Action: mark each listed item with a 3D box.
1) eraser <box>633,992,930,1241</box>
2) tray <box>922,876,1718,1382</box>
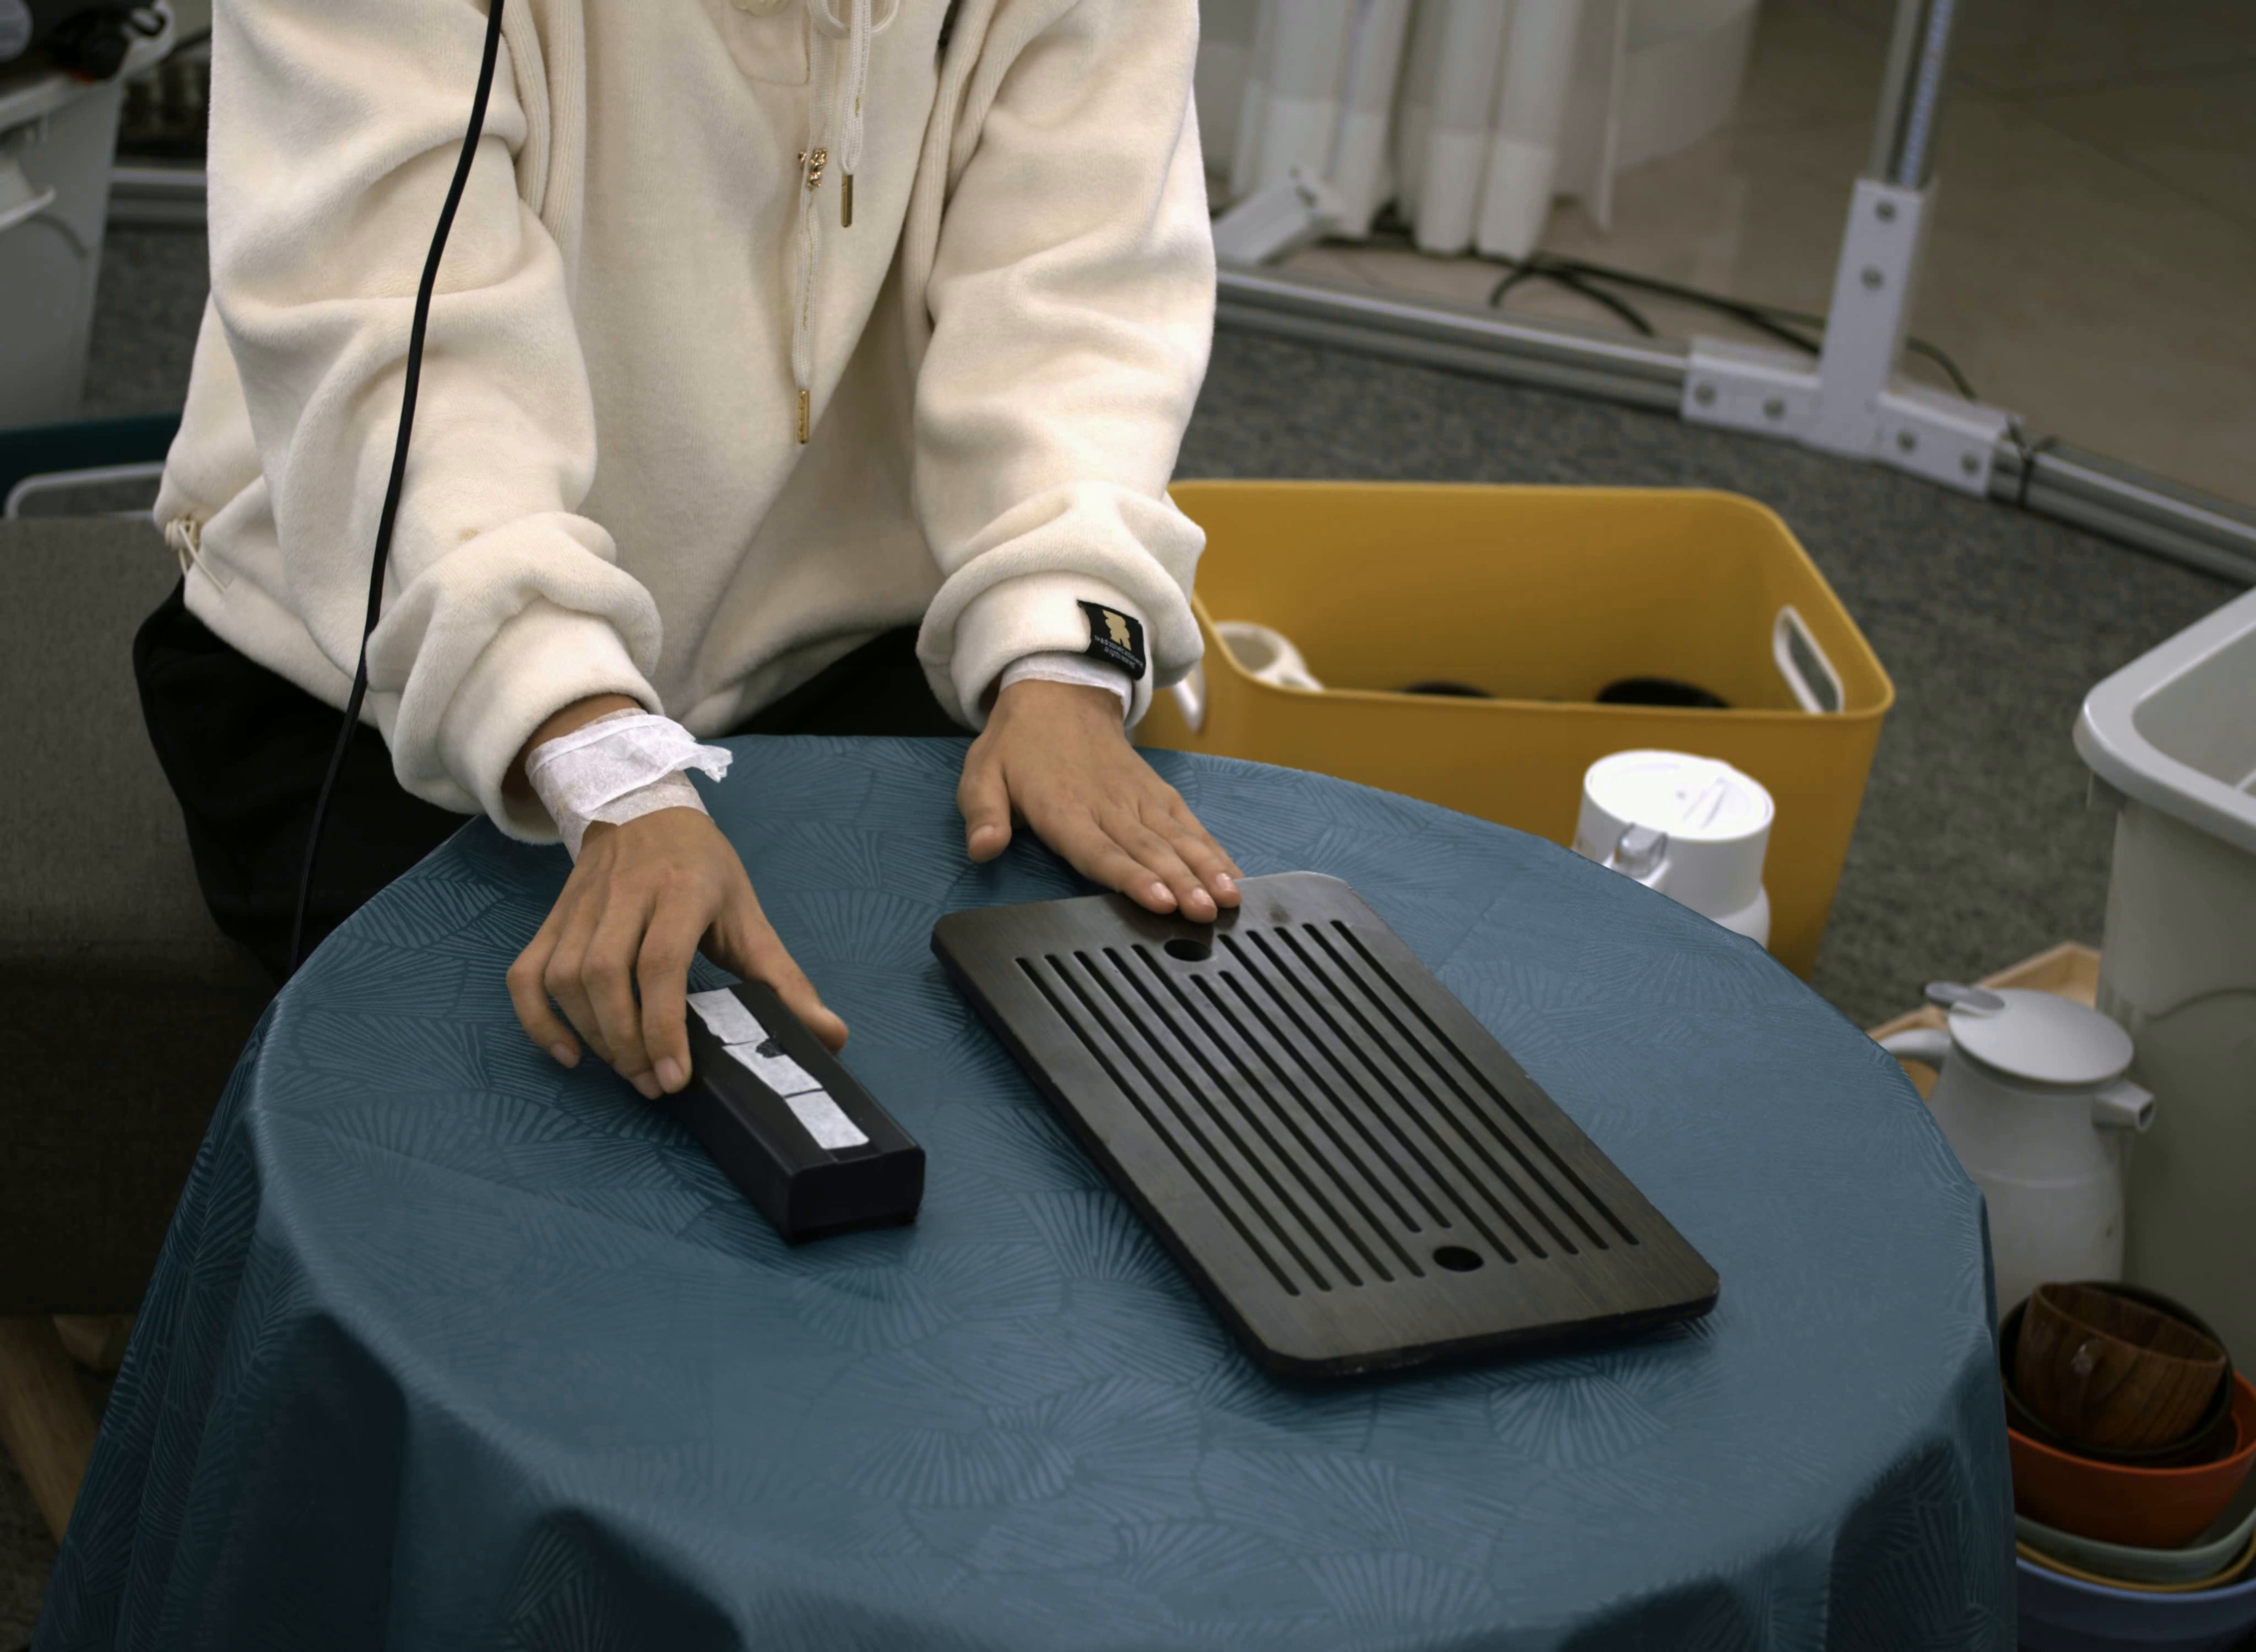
[{"bbox_3d":[-0.118,0.097,1.798,0.053,0.030,0.126,-7,28,-30],"label":"eraser"},{"bbox_3d":[0.060,0.101,1.840,0.169,0.018,0.309,-6,30,-24],"label":"tray"}]
